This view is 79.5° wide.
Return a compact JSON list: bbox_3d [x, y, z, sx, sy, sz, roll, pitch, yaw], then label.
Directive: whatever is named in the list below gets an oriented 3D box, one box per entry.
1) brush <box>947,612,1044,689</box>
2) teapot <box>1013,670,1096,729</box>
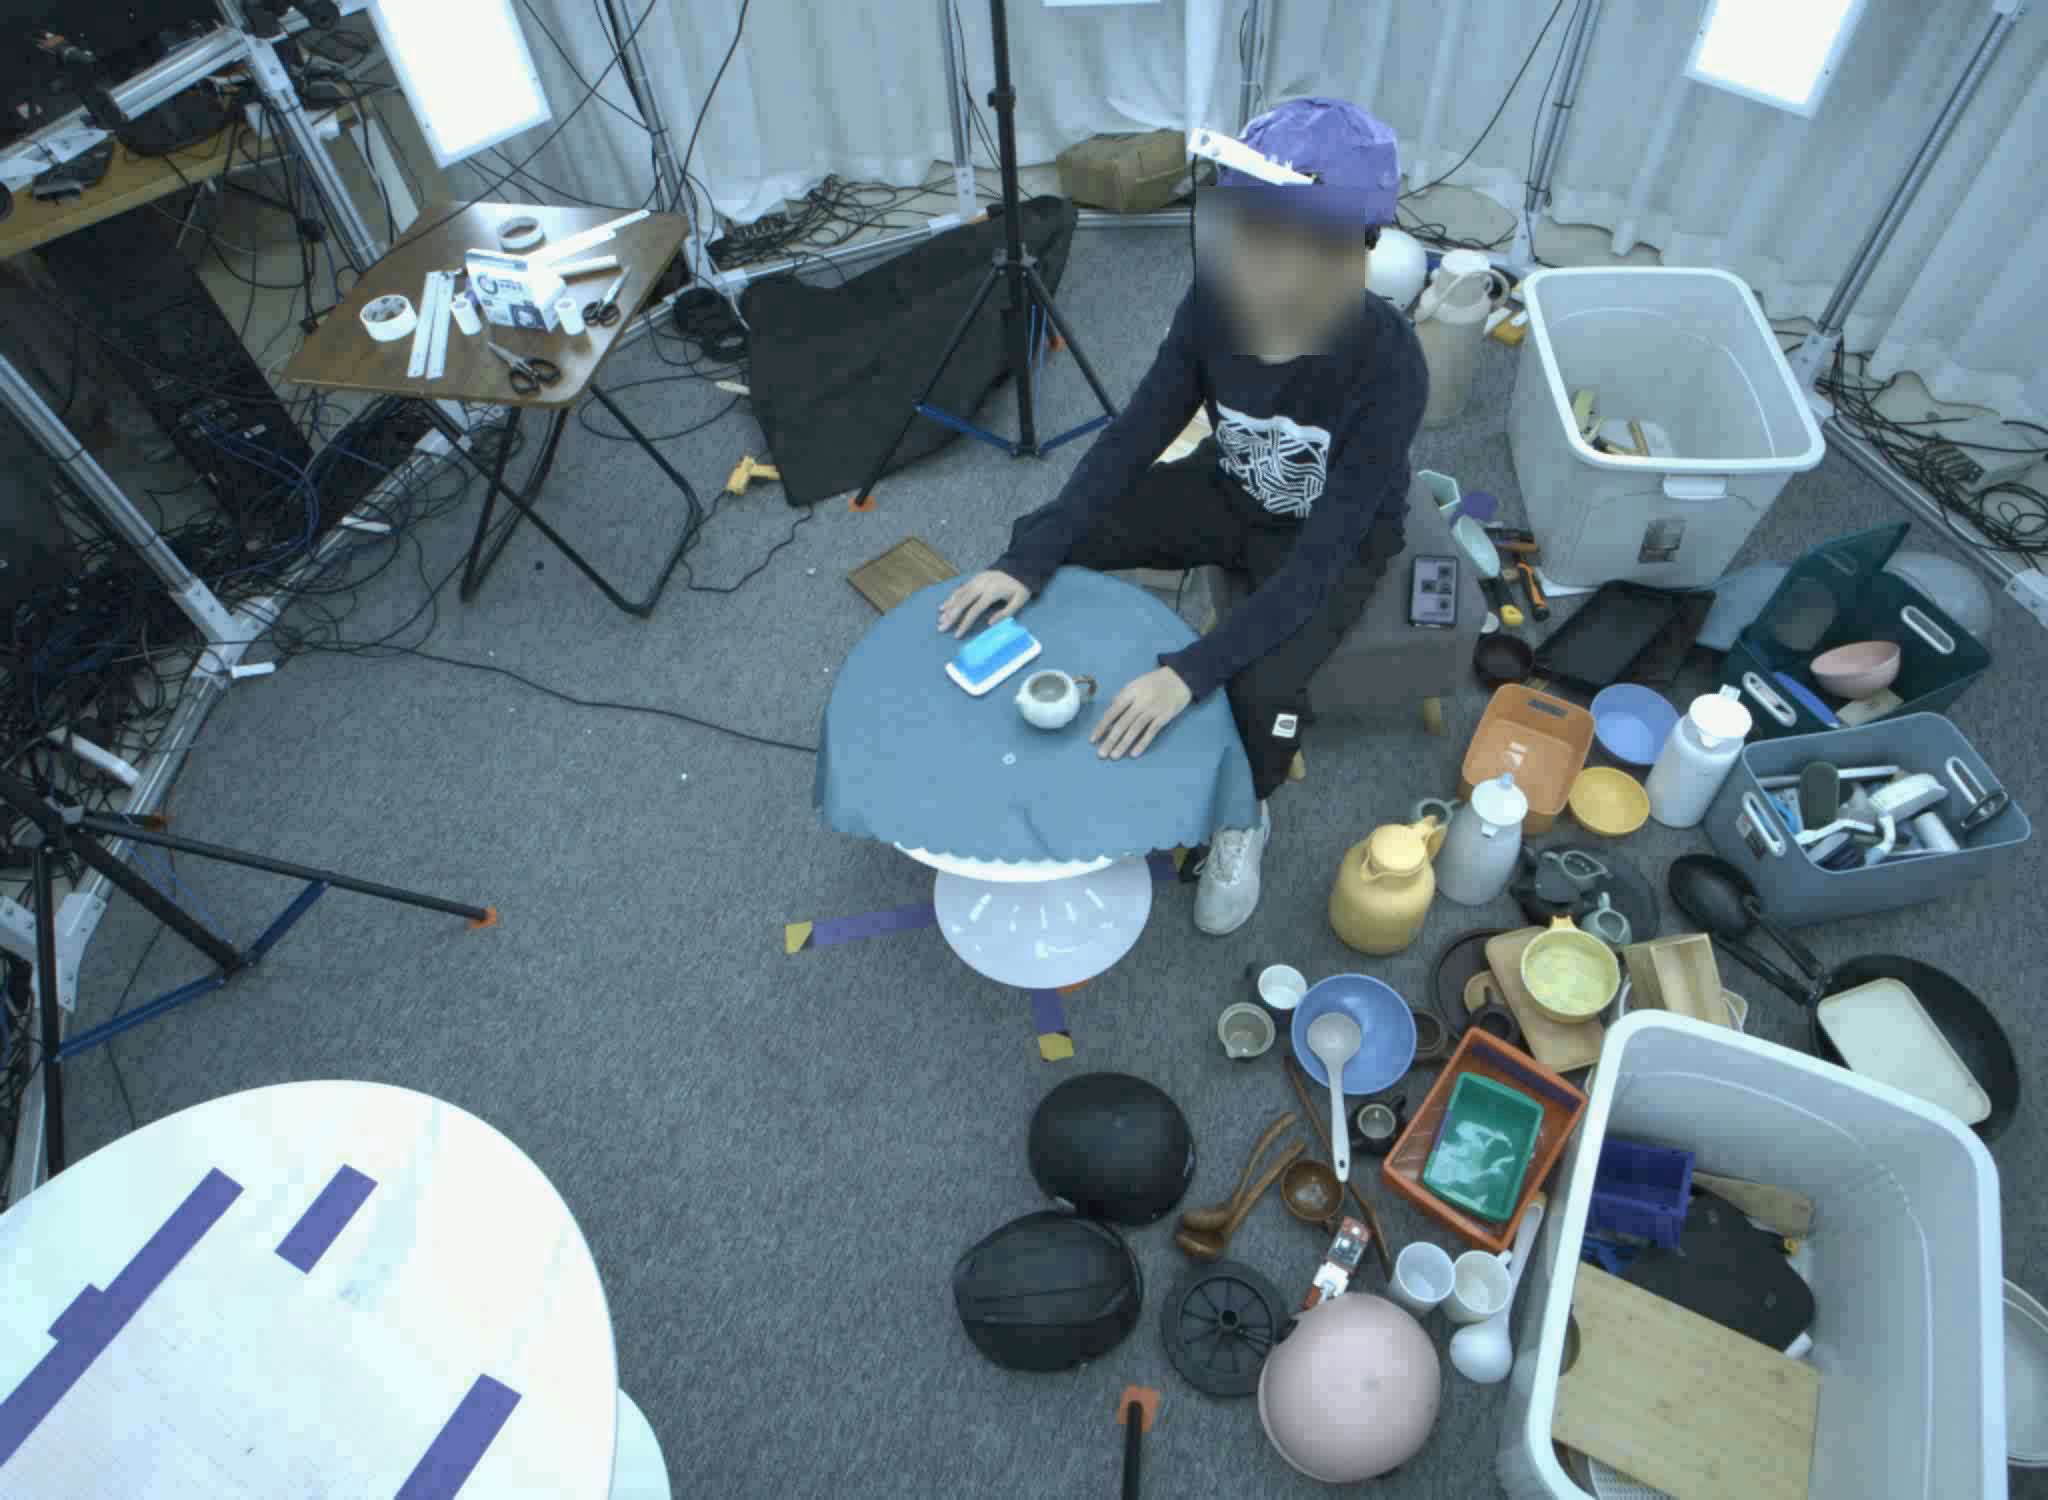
[{"bbox_3d":[-0.044,-0.159,1.857,0.145,0.056,0.082,-37,64,-18],"label":"brush"},{"bbox_3d":[0.046,-0.077,1.796,0.129,0.060,0.090,-21,54,-11],"label":"teapot"}]
